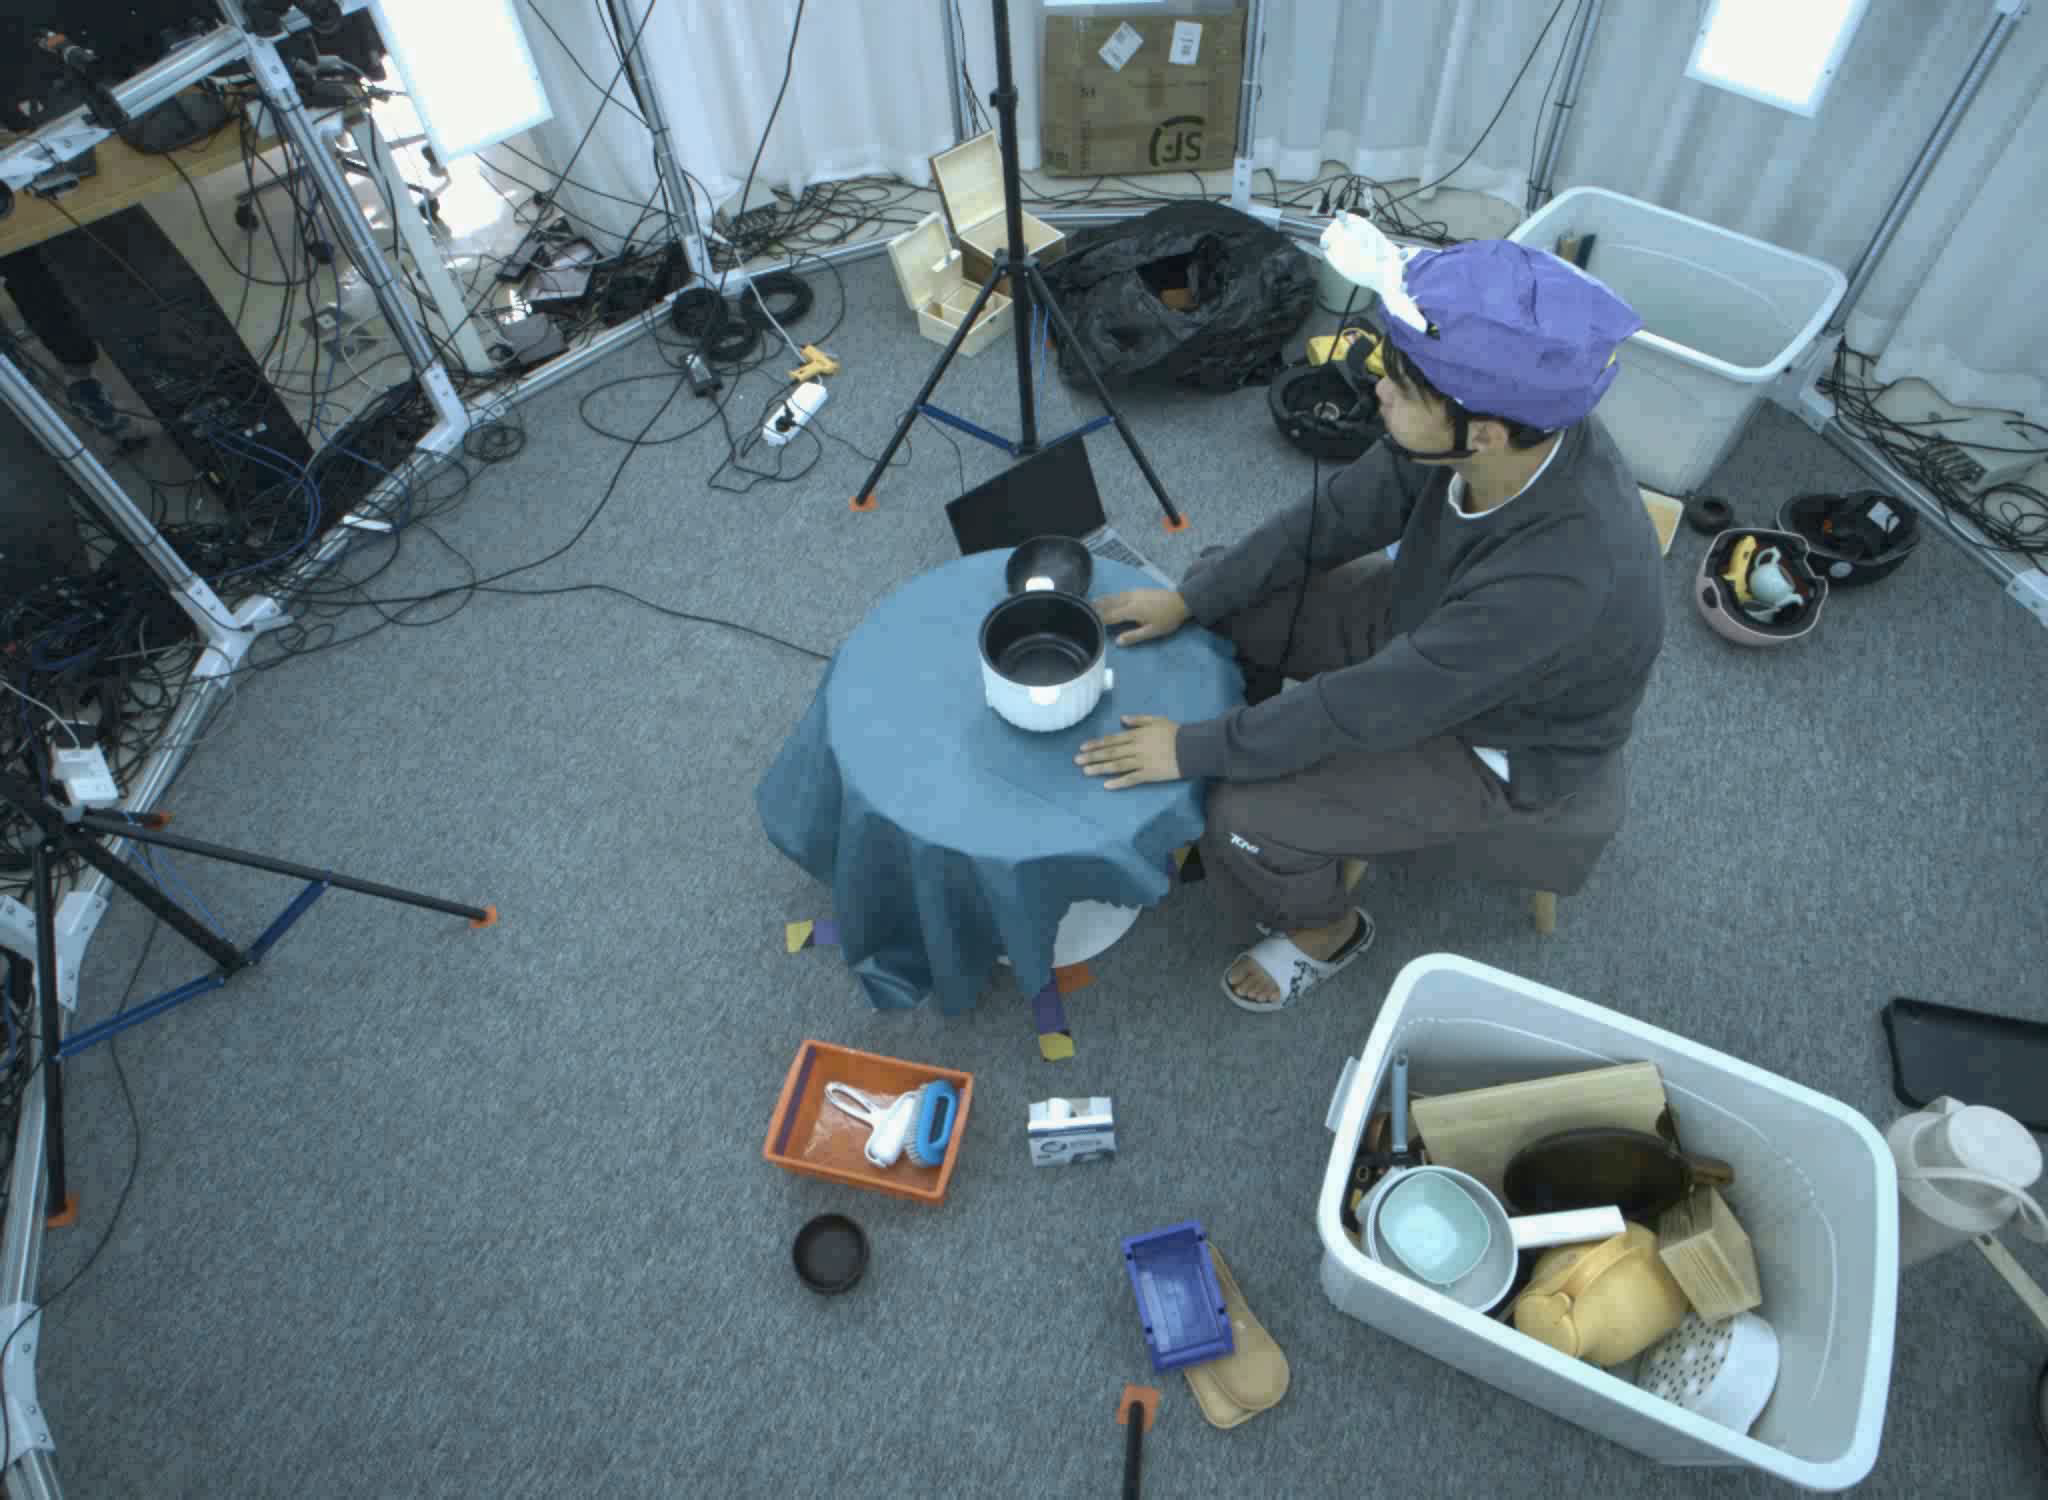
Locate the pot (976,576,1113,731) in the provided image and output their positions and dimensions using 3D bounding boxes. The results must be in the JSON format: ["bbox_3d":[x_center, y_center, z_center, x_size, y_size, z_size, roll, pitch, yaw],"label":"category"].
[{"bbox_3d":[0.032,-0.125,1.791,0.190,0.144,0.237,-5,56,2],"label":"pot"}]

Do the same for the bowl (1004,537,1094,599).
[{"bbox_3d":[0.040,-0.266,1.935,0.136,0.067,0.169,12,55,9],"label":"bowl"}]
